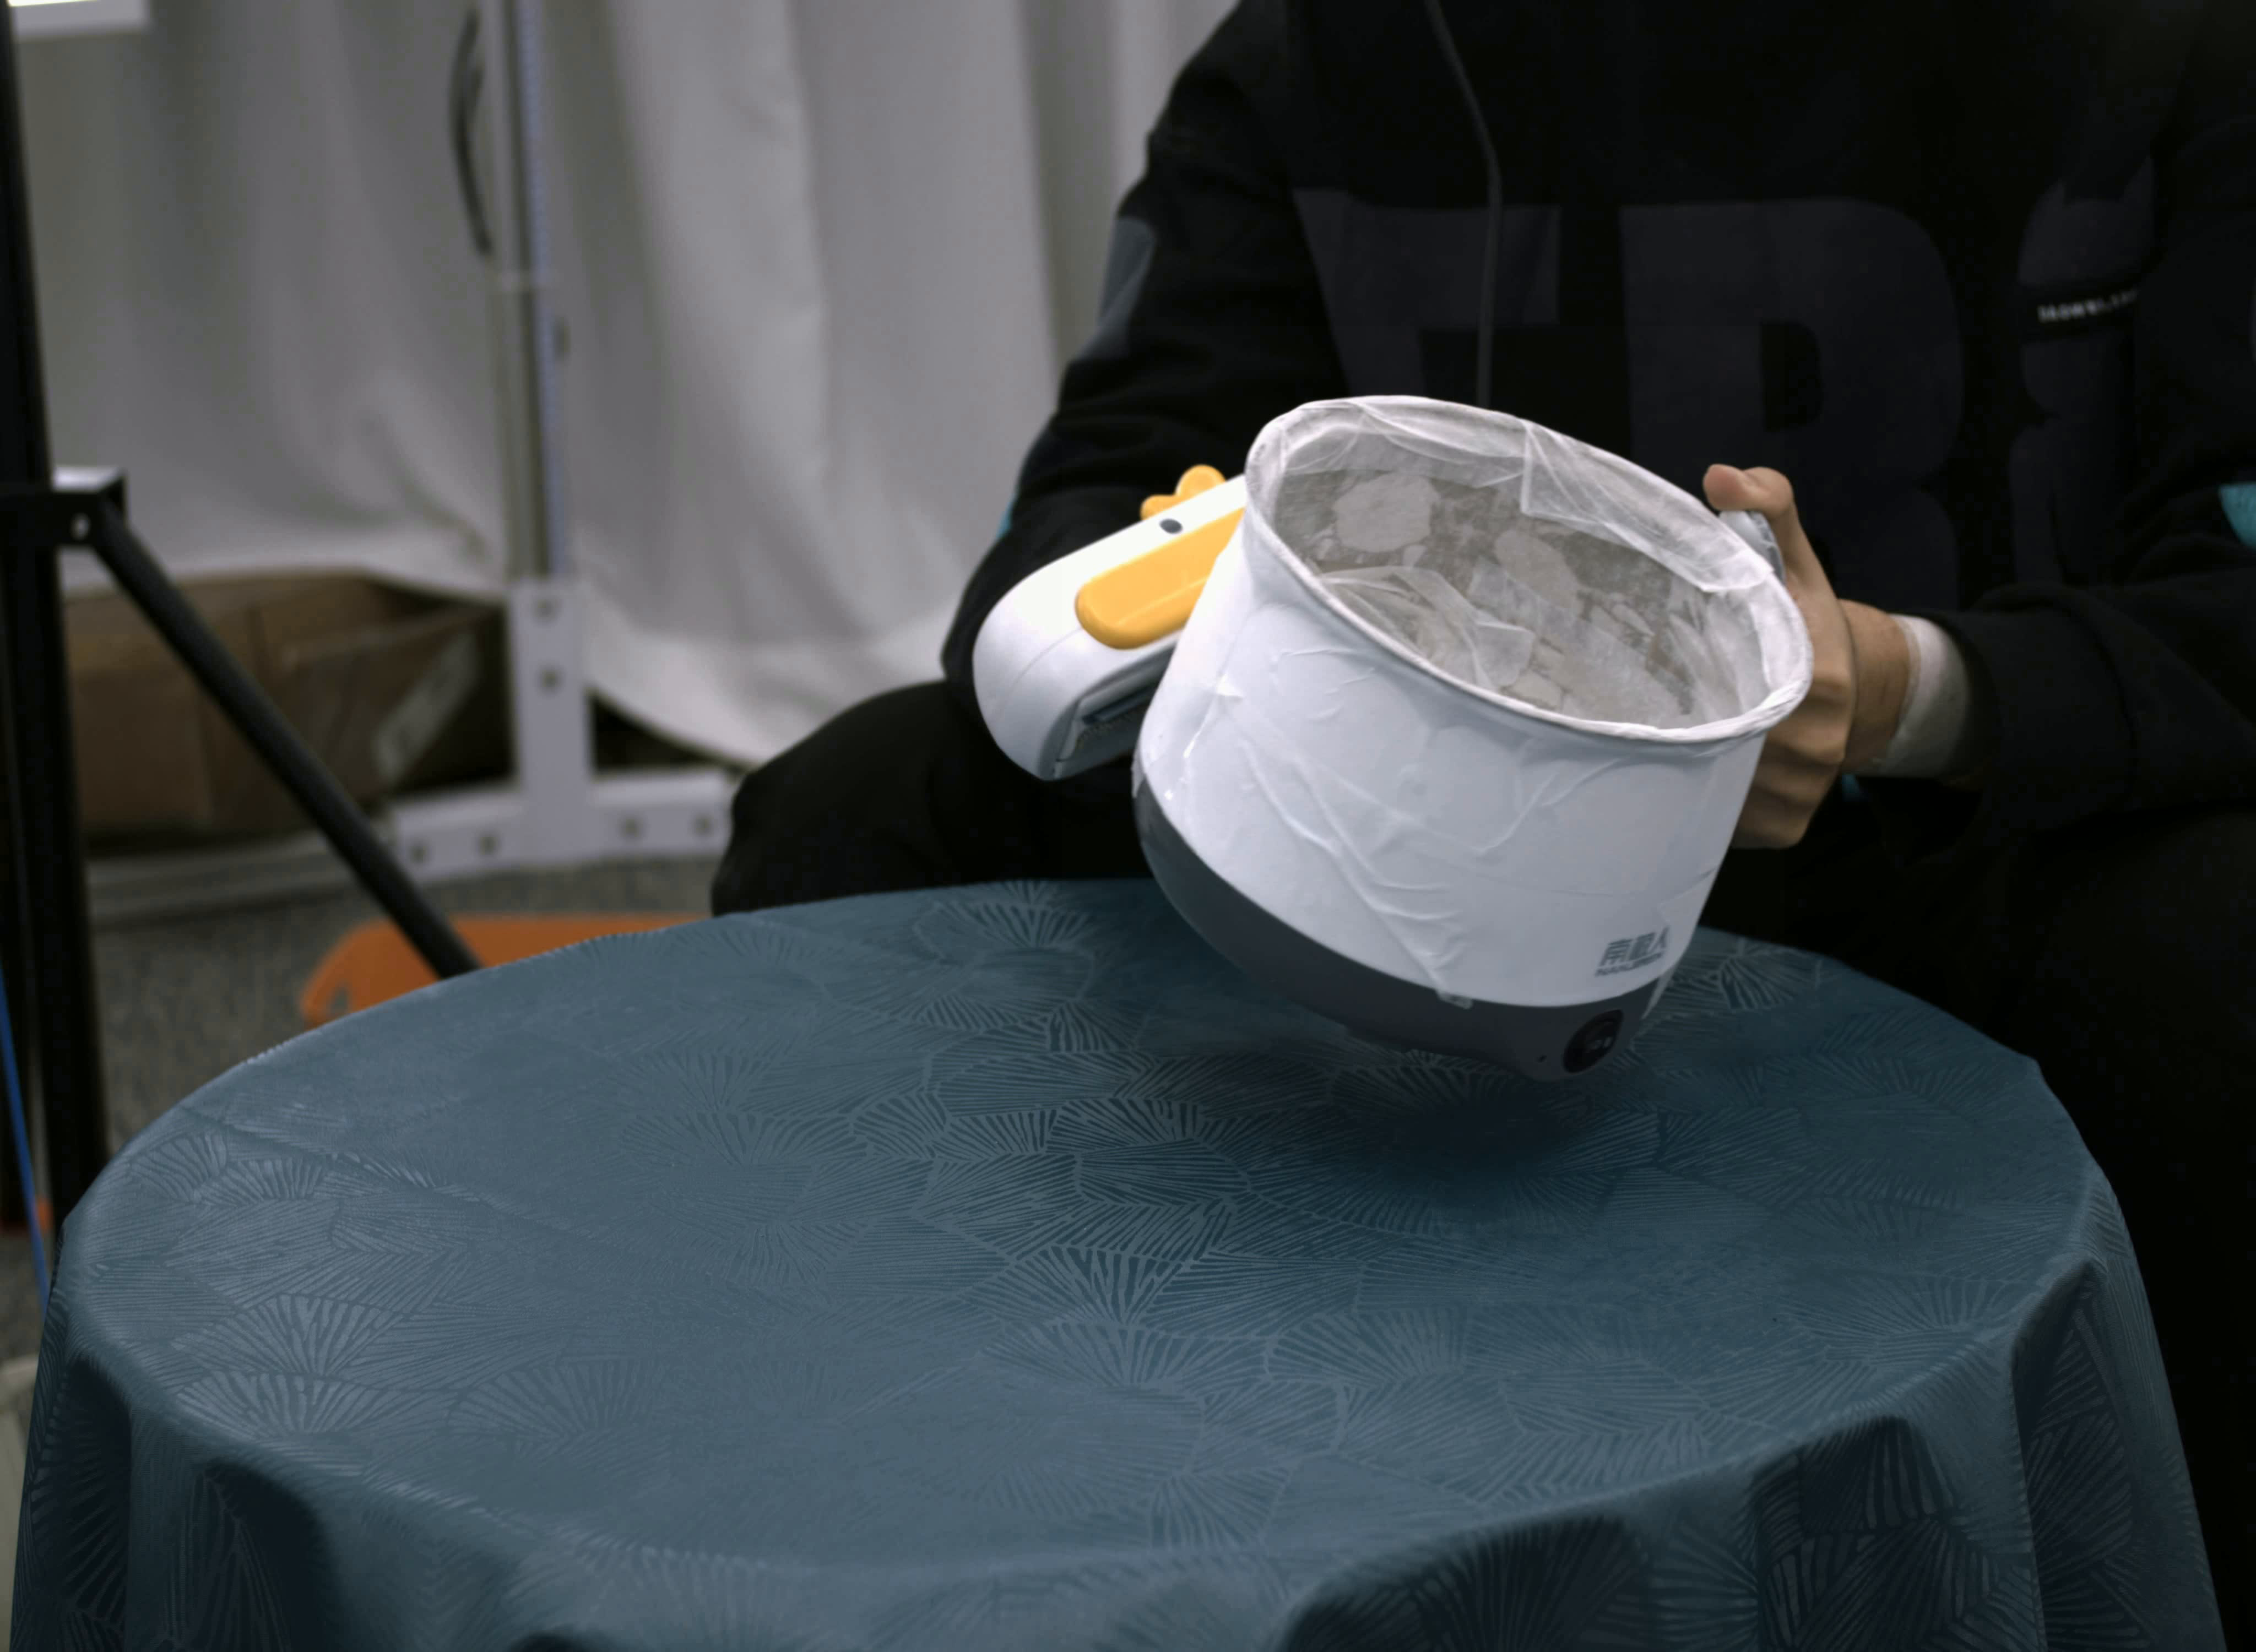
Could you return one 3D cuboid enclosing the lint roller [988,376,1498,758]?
[{"bbox_3d":[0.017,-0.061,1.725,0.190,0.075,0.194,-30,-12,-30],"label":"lint roller"}]

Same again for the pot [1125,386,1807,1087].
[{"bbox_3d":[0.115,-0.032,1.594,0.228,0.137,0.182,-14,47,-42],"label":"pot"}]
